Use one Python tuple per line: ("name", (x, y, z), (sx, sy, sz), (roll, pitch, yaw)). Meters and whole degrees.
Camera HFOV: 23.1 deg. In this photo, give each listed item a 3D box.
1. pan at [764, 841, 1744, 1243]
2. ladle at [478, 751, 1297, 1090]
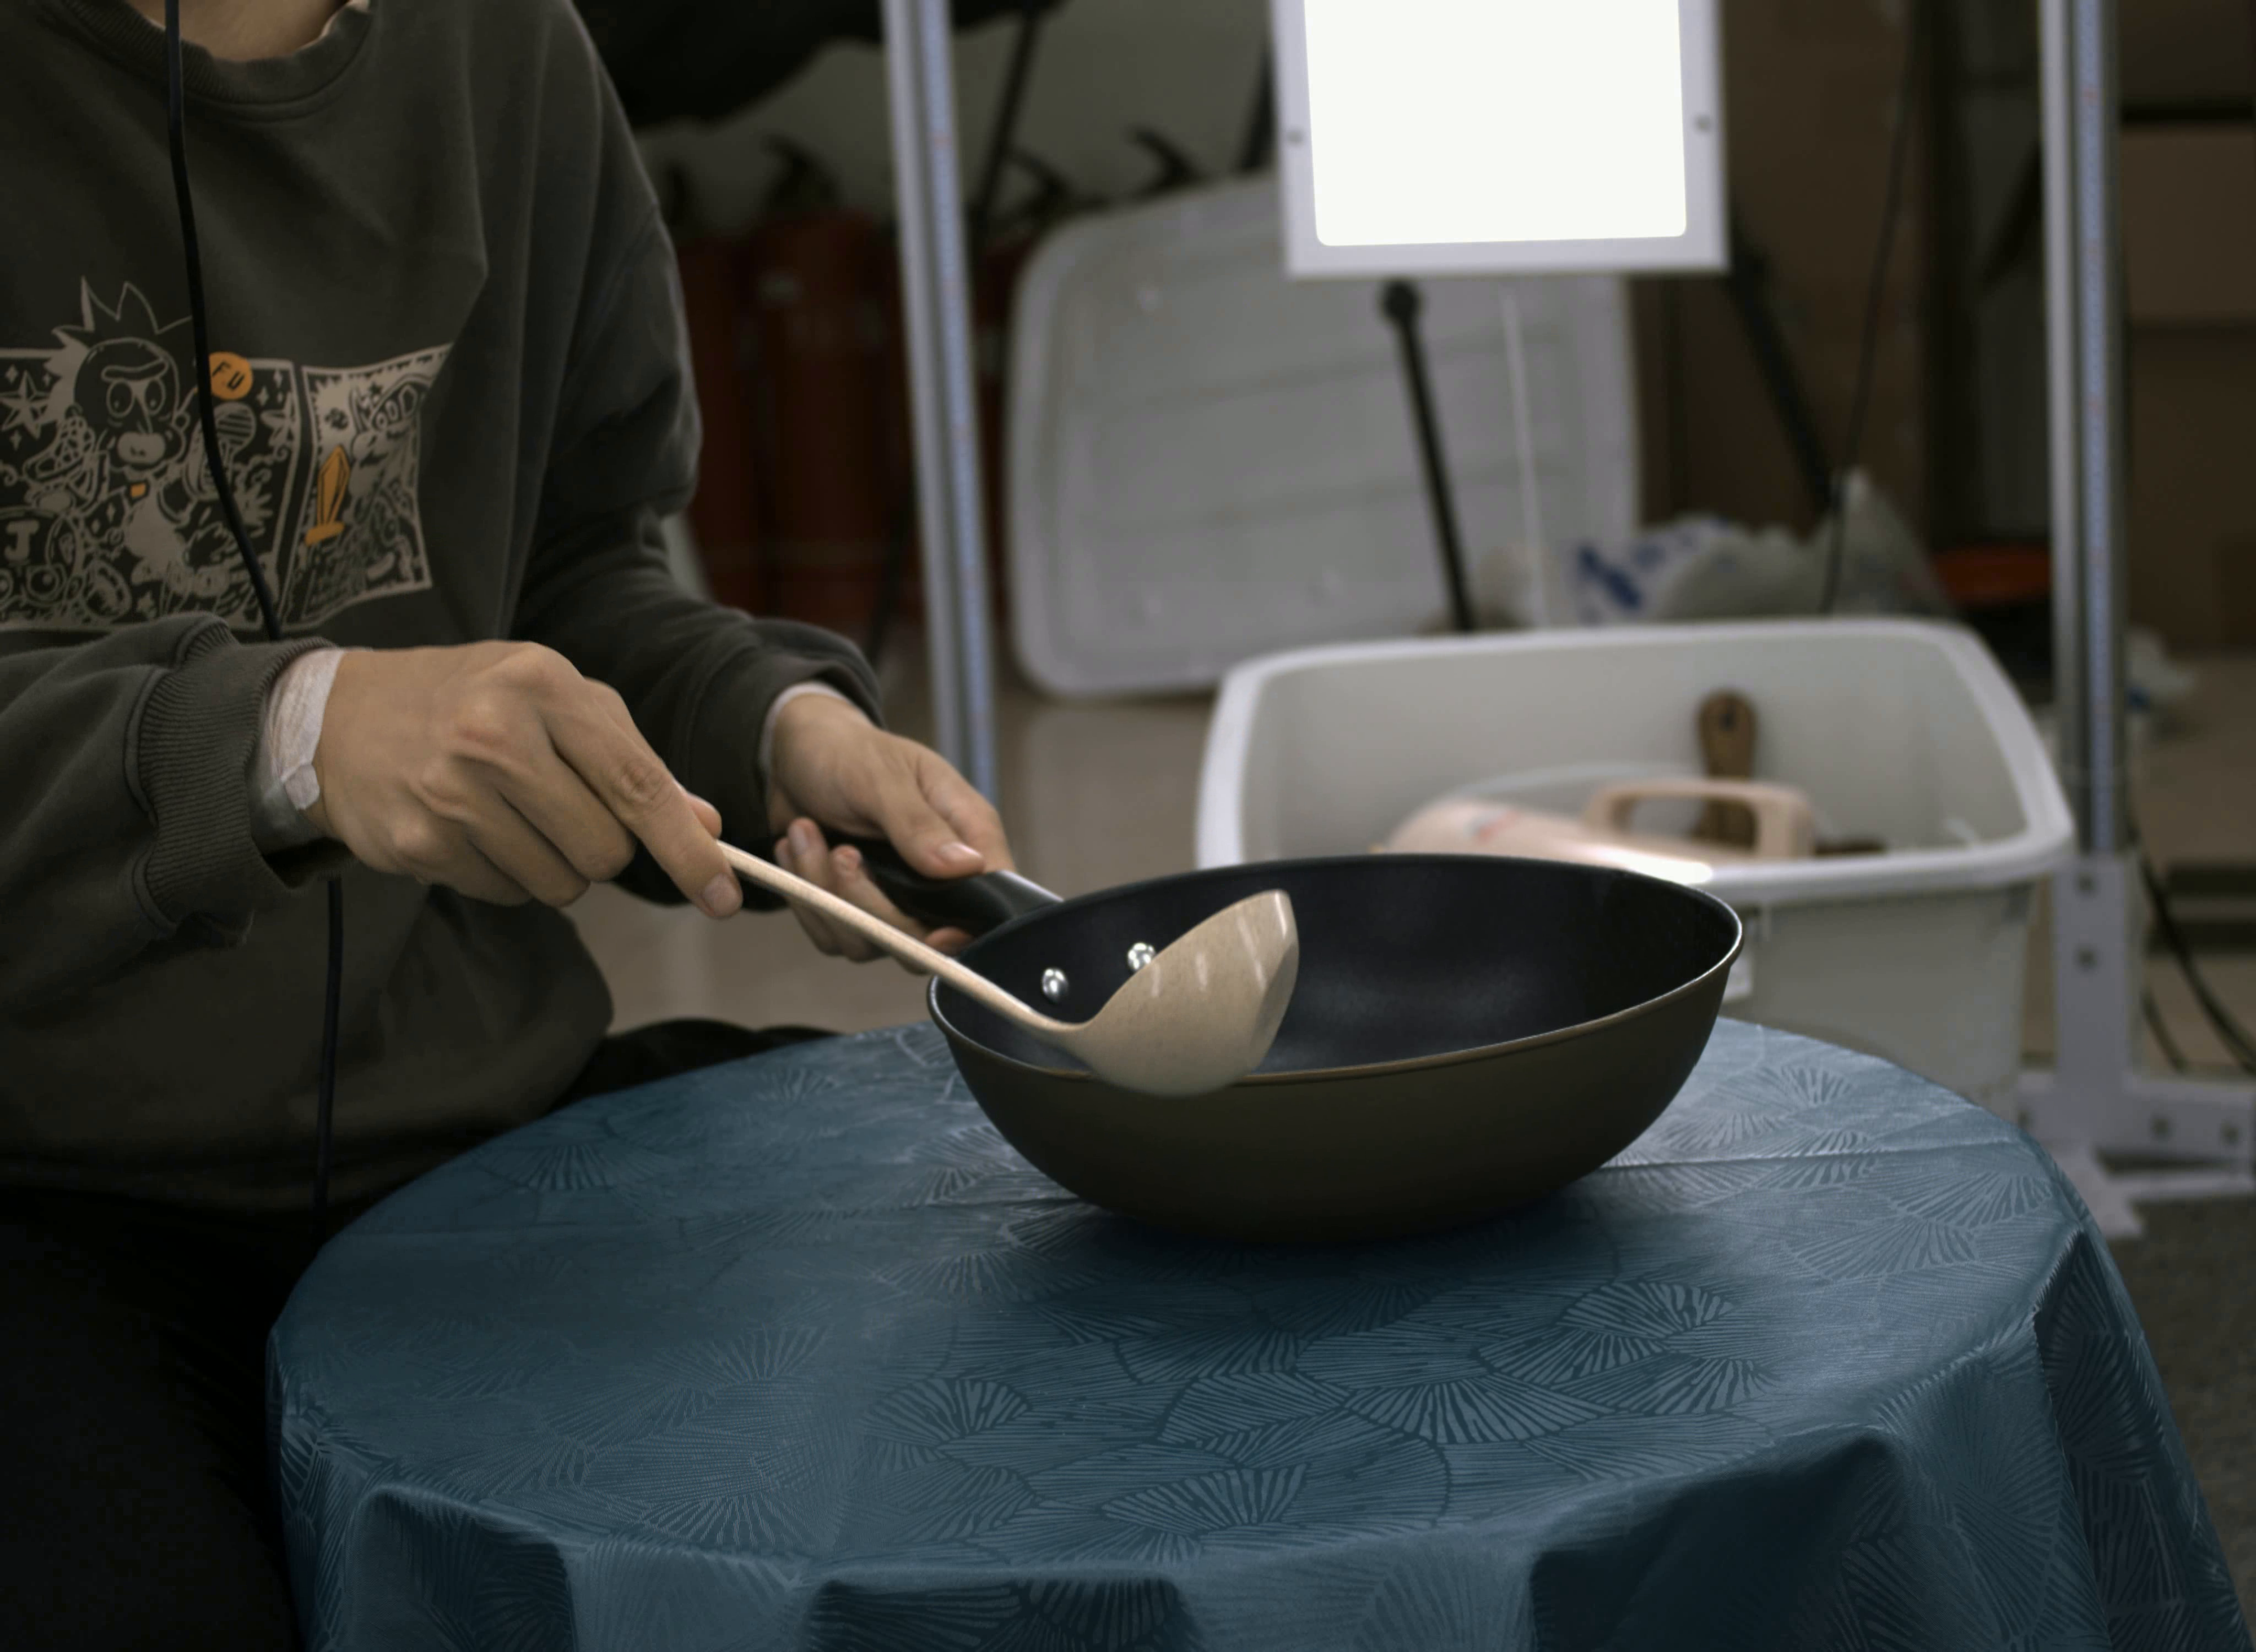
("pan", (0.013, 0.070, 1.948), (0.281, 0.087, 0.473), (-16, 16, -37))
("ladle", (-0.069, 0.001, 1.649), (0.256, 0.073, 0.071), (26, -4, 14))
